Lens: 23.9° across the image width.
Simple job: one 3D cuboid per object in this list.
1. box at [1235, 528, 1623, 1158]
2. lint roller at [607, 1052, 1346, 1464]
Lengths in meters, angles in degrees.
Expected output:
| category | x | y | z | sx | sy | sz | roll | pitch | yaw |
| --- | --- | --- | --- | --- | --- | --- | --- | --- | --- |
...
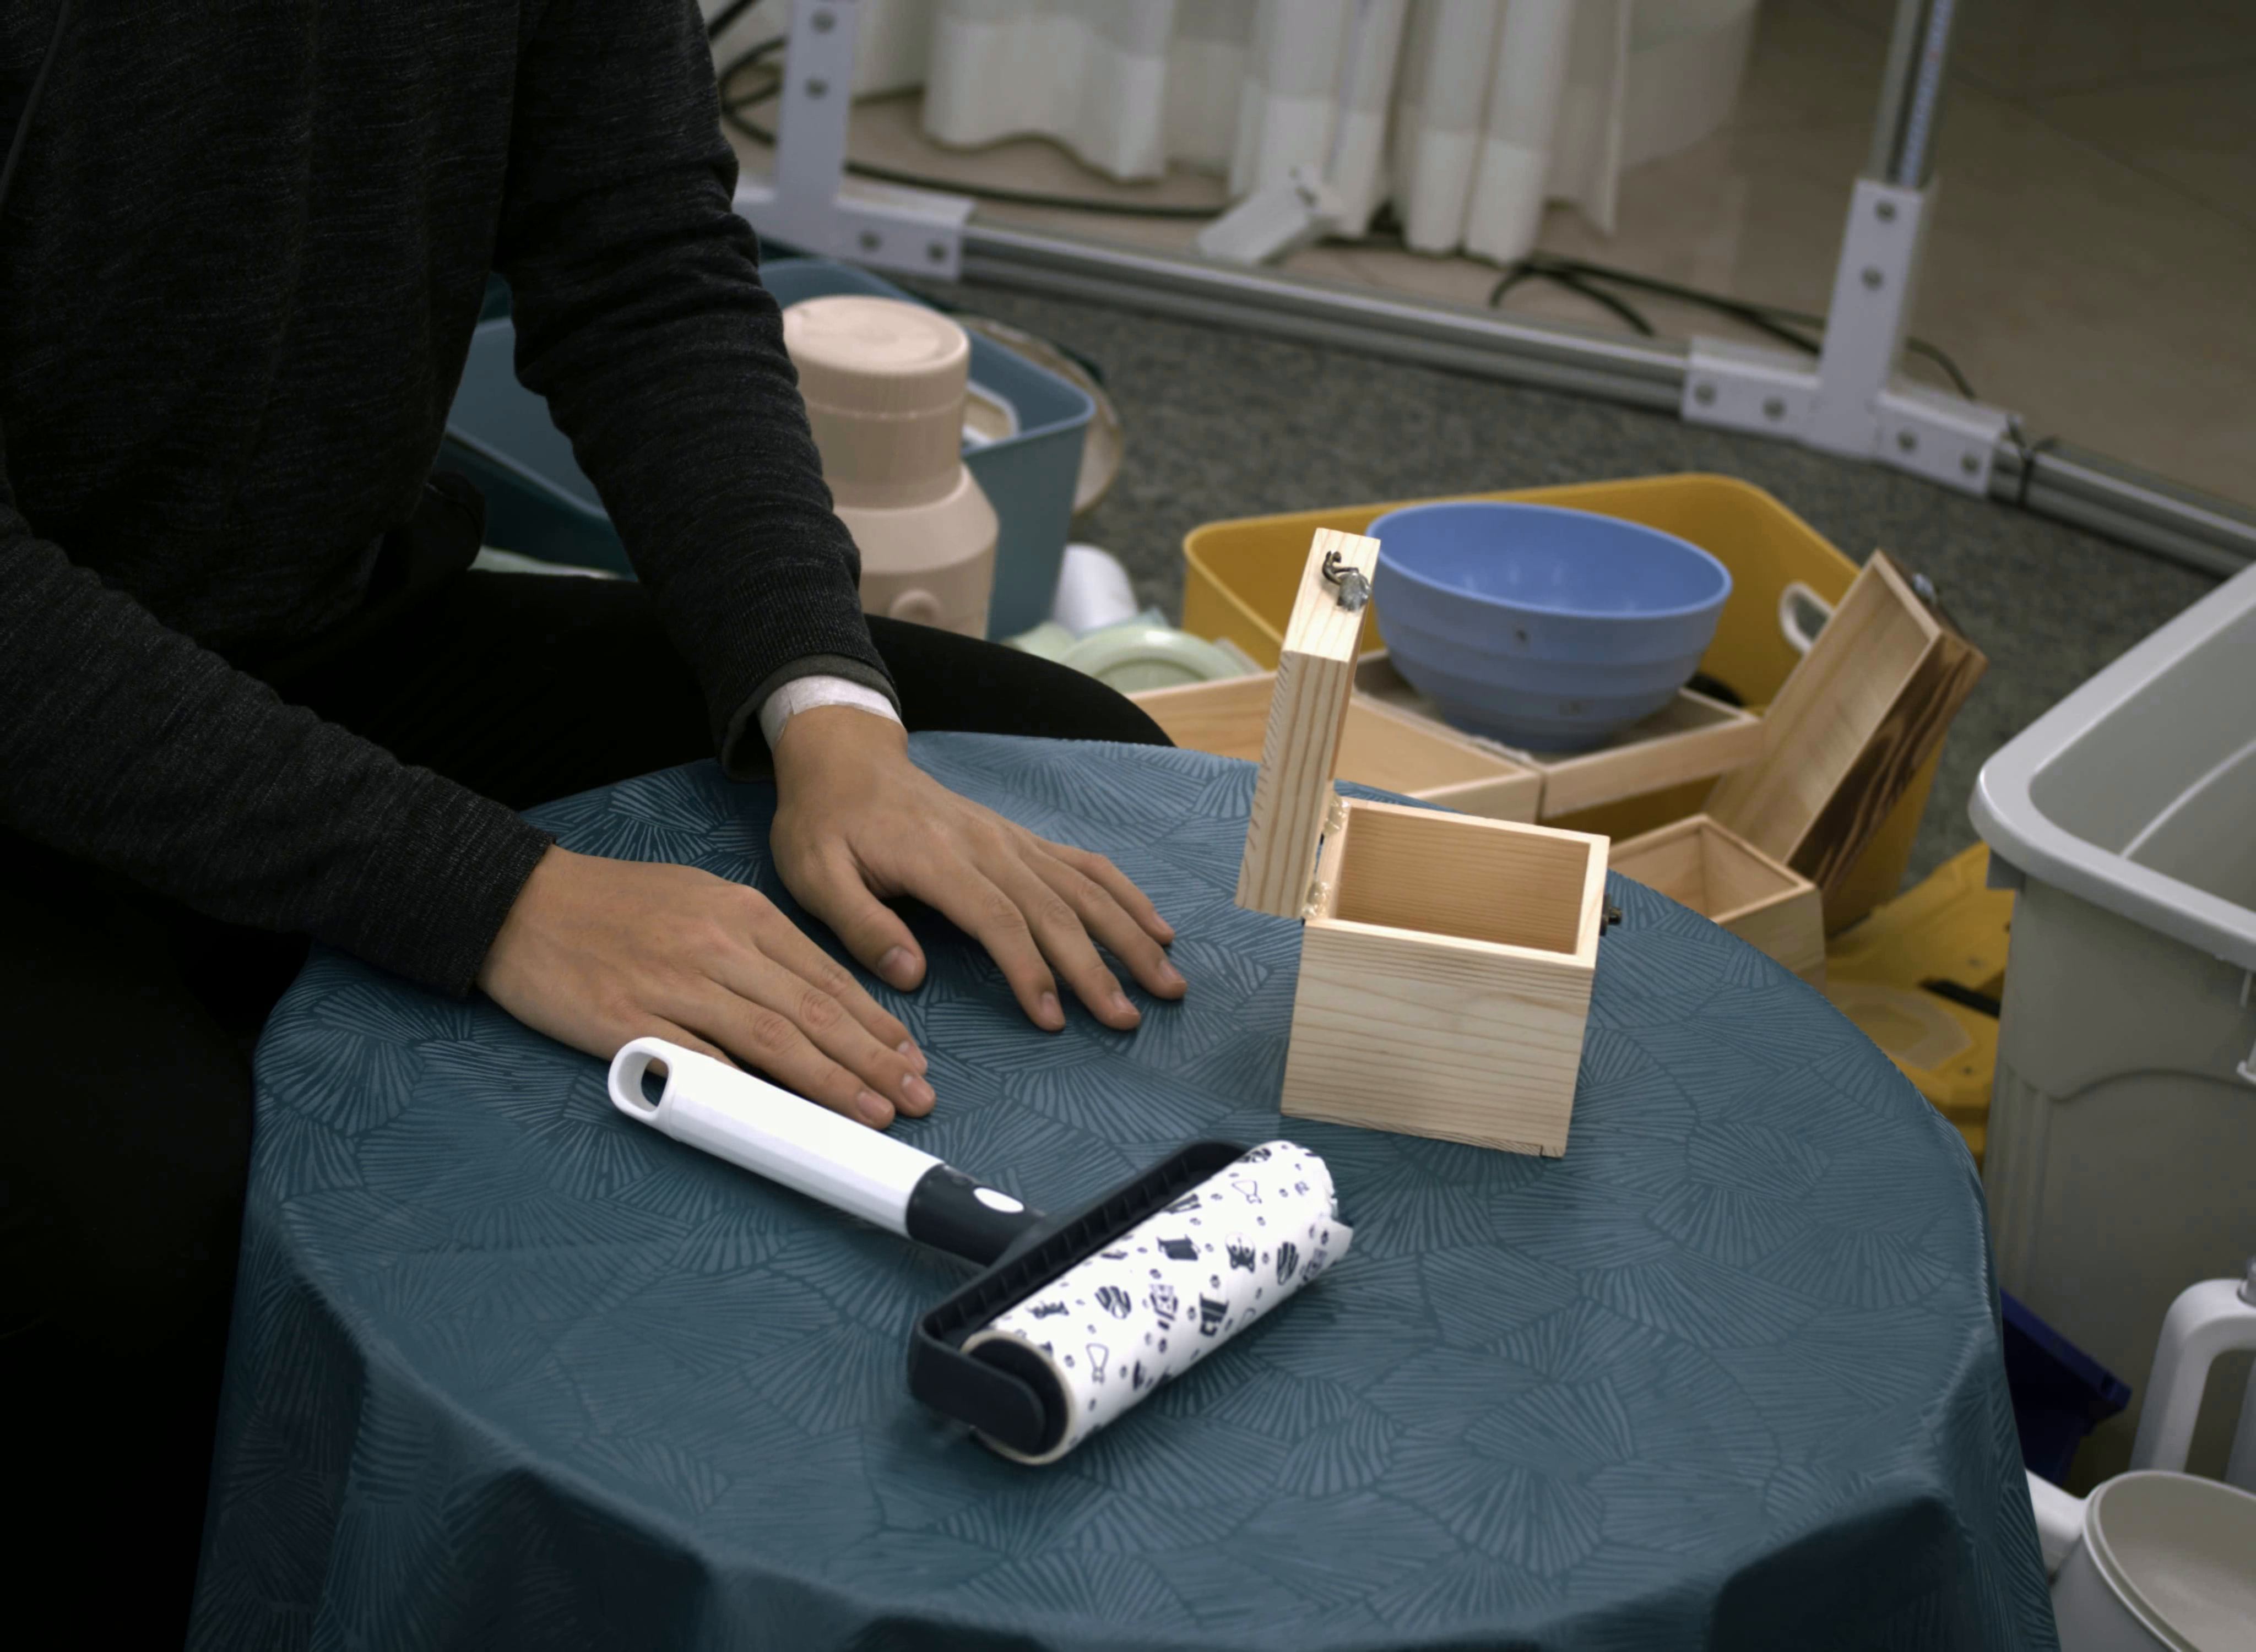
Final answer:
| category | x | y | z | sx | sy | sz | roll | pitch | yaw |
| --- | --- | --- | --- | --- | --- | --- | --- | --- | --- |
| box | 0.109 | 0.005 | 1.859 | 0.134 | 0.184 | 0.103 | 8 | 26 | 5 |
| lint roller | -0.074 | 0.119 | 1.748 | 0.248 | 0.050 | 0.176 | 22 | 31 | 29 |
